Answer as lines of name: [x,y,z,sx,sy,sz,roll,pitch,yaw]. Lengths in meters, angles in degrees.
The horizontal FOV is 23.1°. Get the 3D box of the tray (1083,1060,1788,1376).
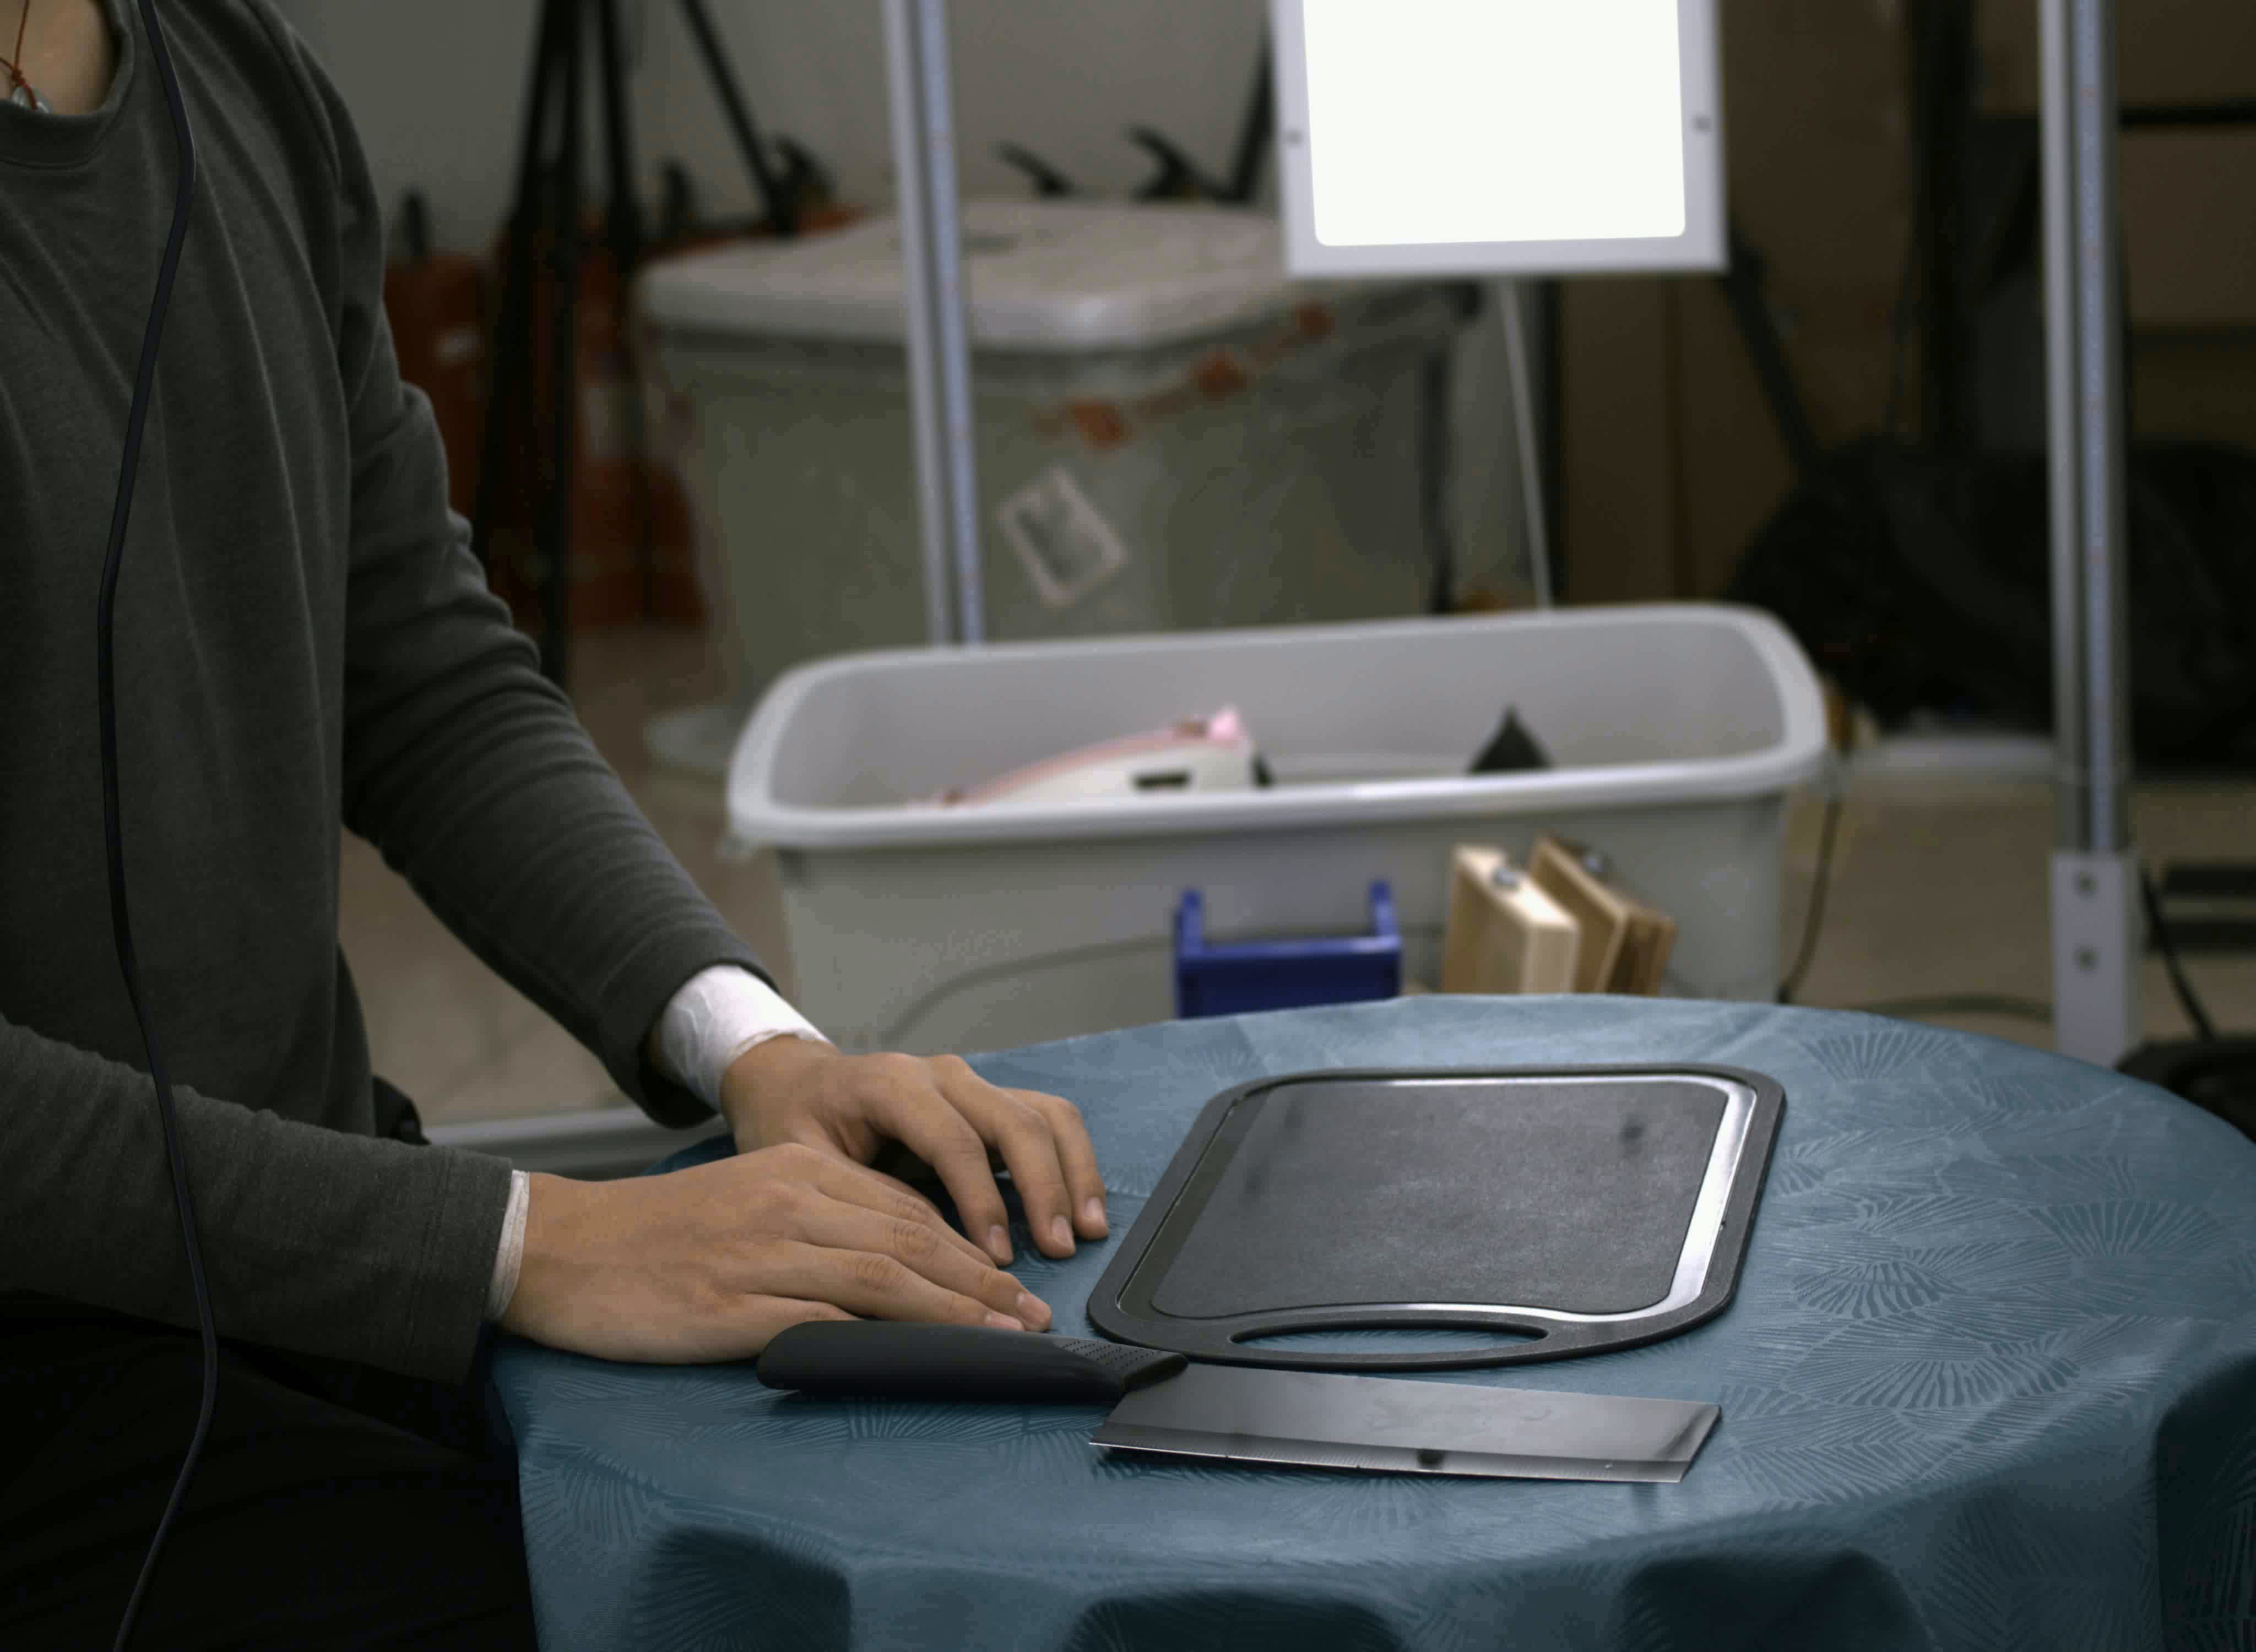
tray: [0.108,0.127,1.850,0.213,0.010,0.321,-2,14,14]

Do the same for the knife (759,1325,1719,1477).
knife: [0.029,0.175,1.666,0.307,0.021,0.079,3,17,25]
